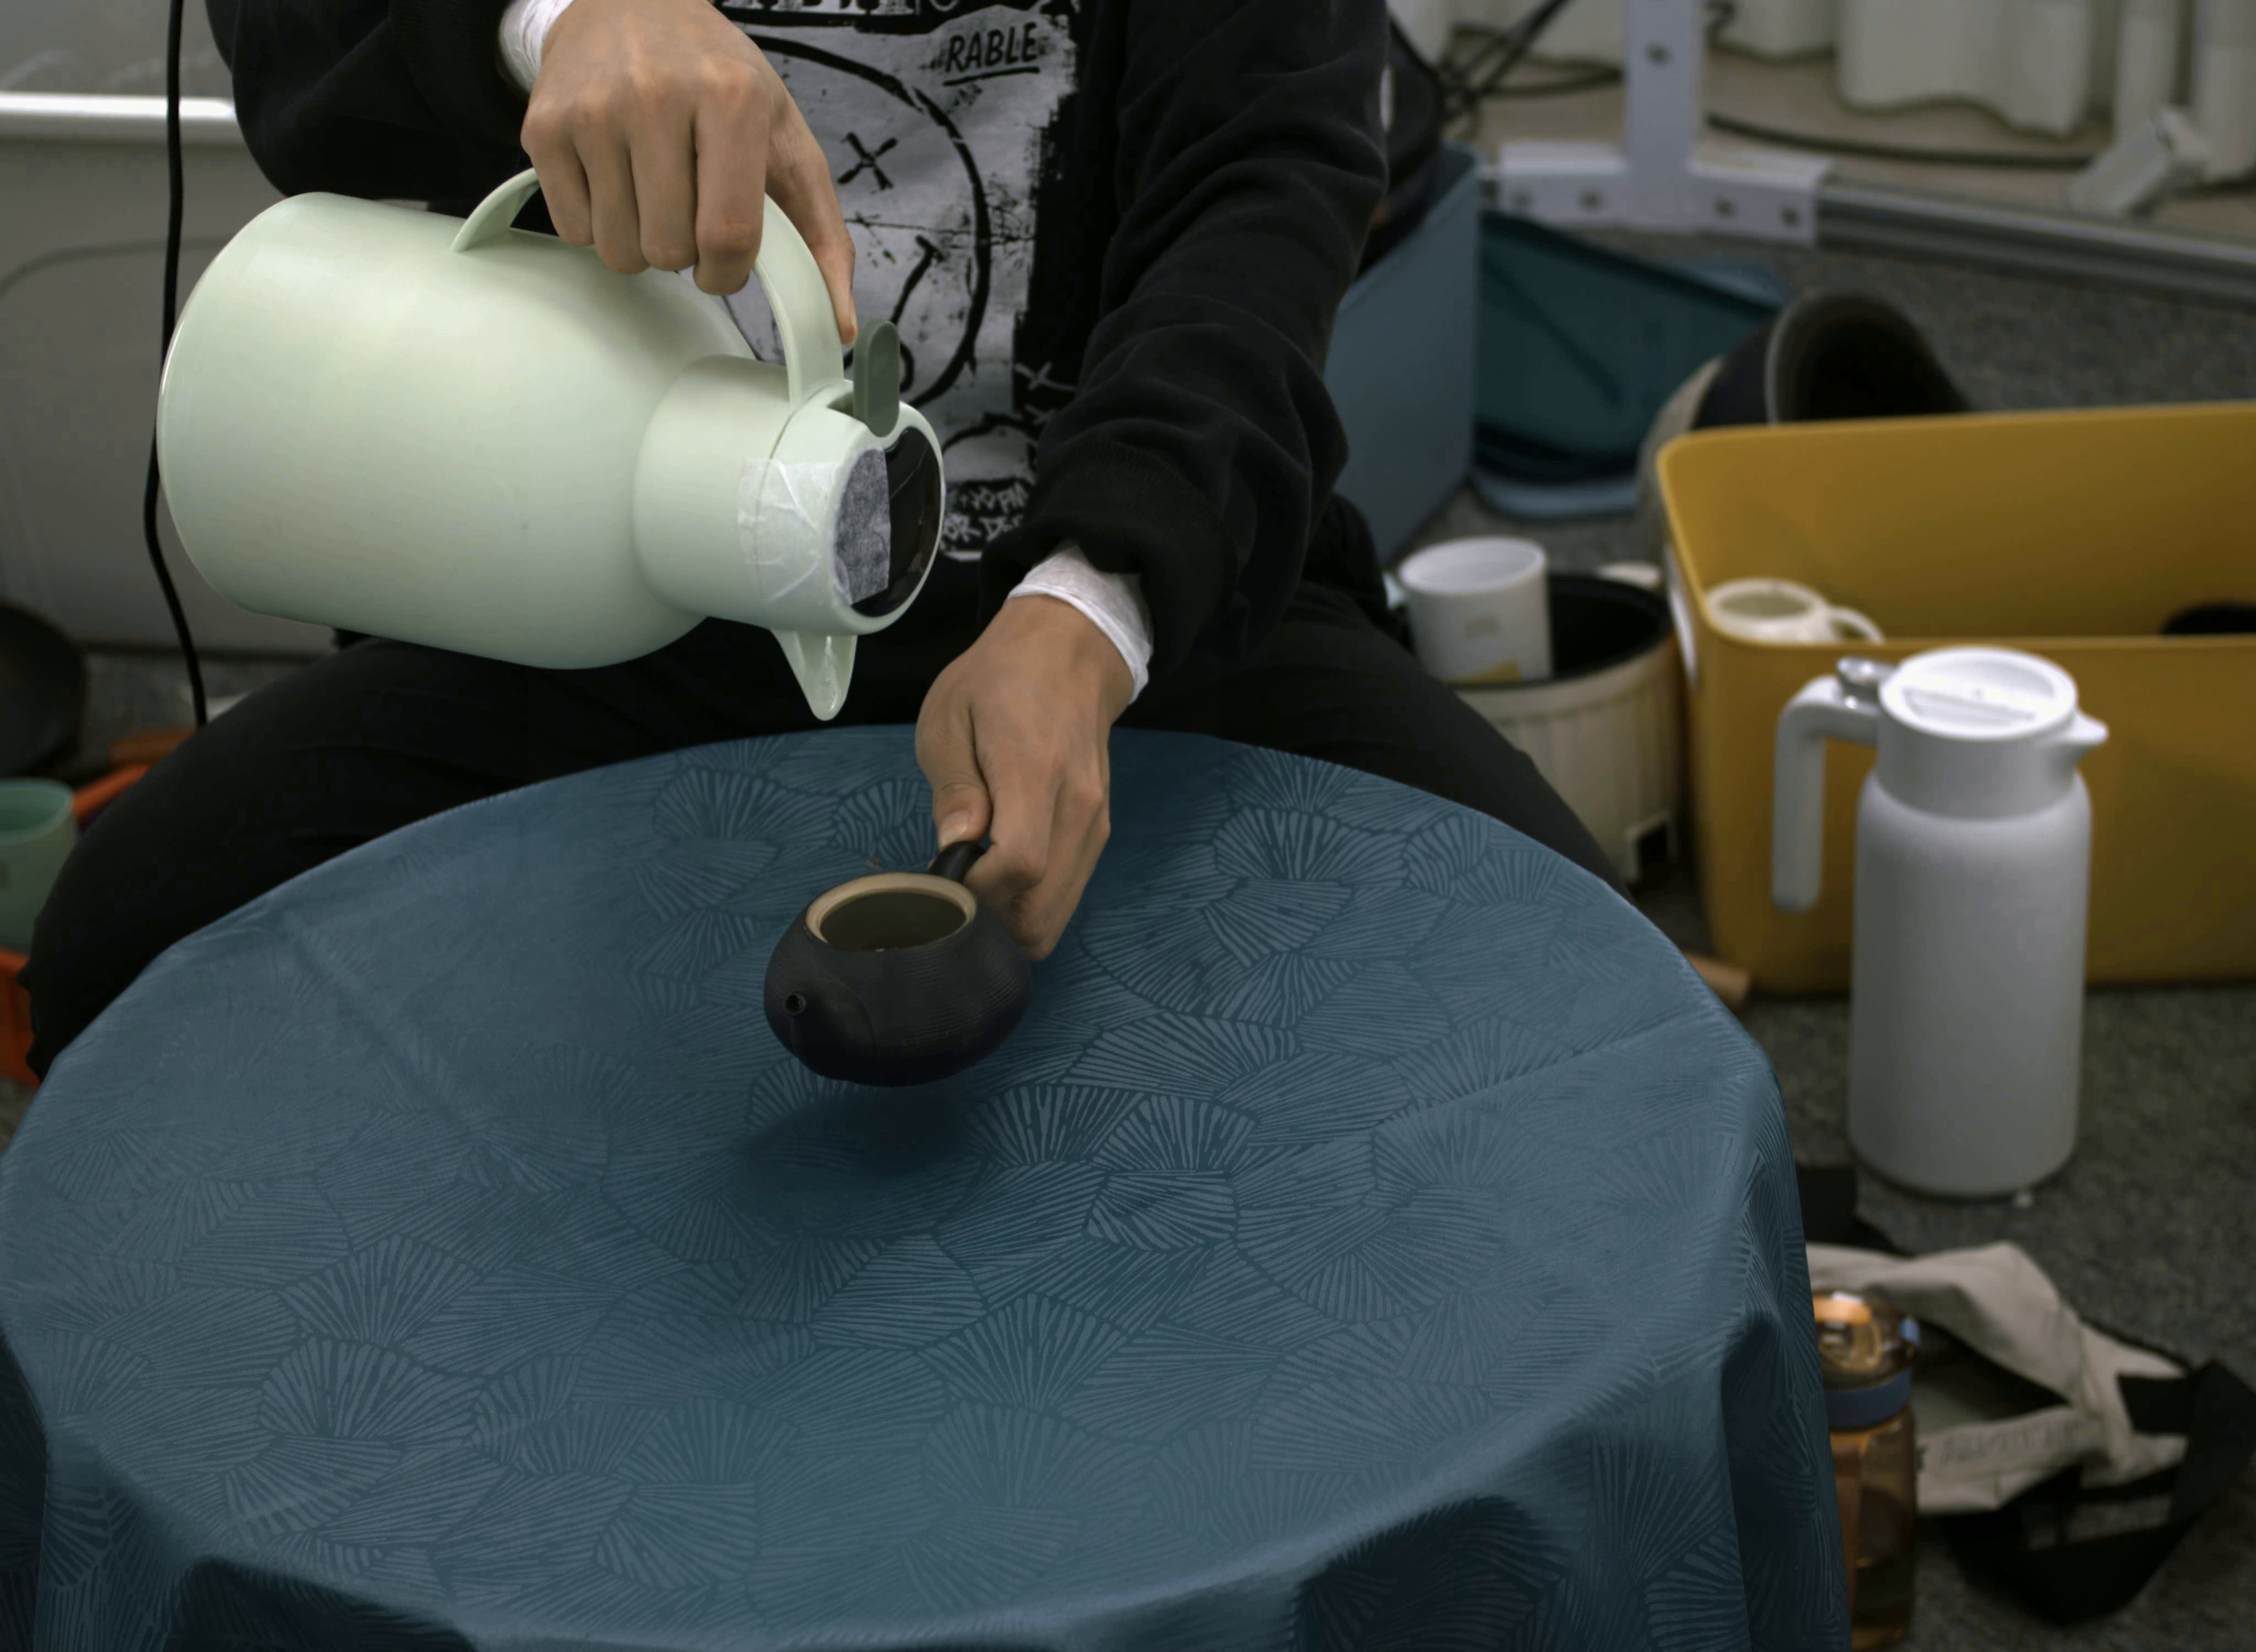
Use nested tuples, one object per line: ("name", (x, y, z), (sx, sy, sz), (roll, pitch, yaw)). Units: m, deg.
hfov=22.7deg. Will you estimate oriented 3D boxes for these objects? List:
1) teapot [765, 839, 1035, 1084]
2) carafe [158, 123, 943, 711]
("teapot", (-0.076, 0.050, 1.880), (0.090, 0.052, 0.135), (10, 30, 24))
("carafe", (-0.184, -0.138, 1.851), (0.255, 0.185, 0.146), (9, 22, 30))
